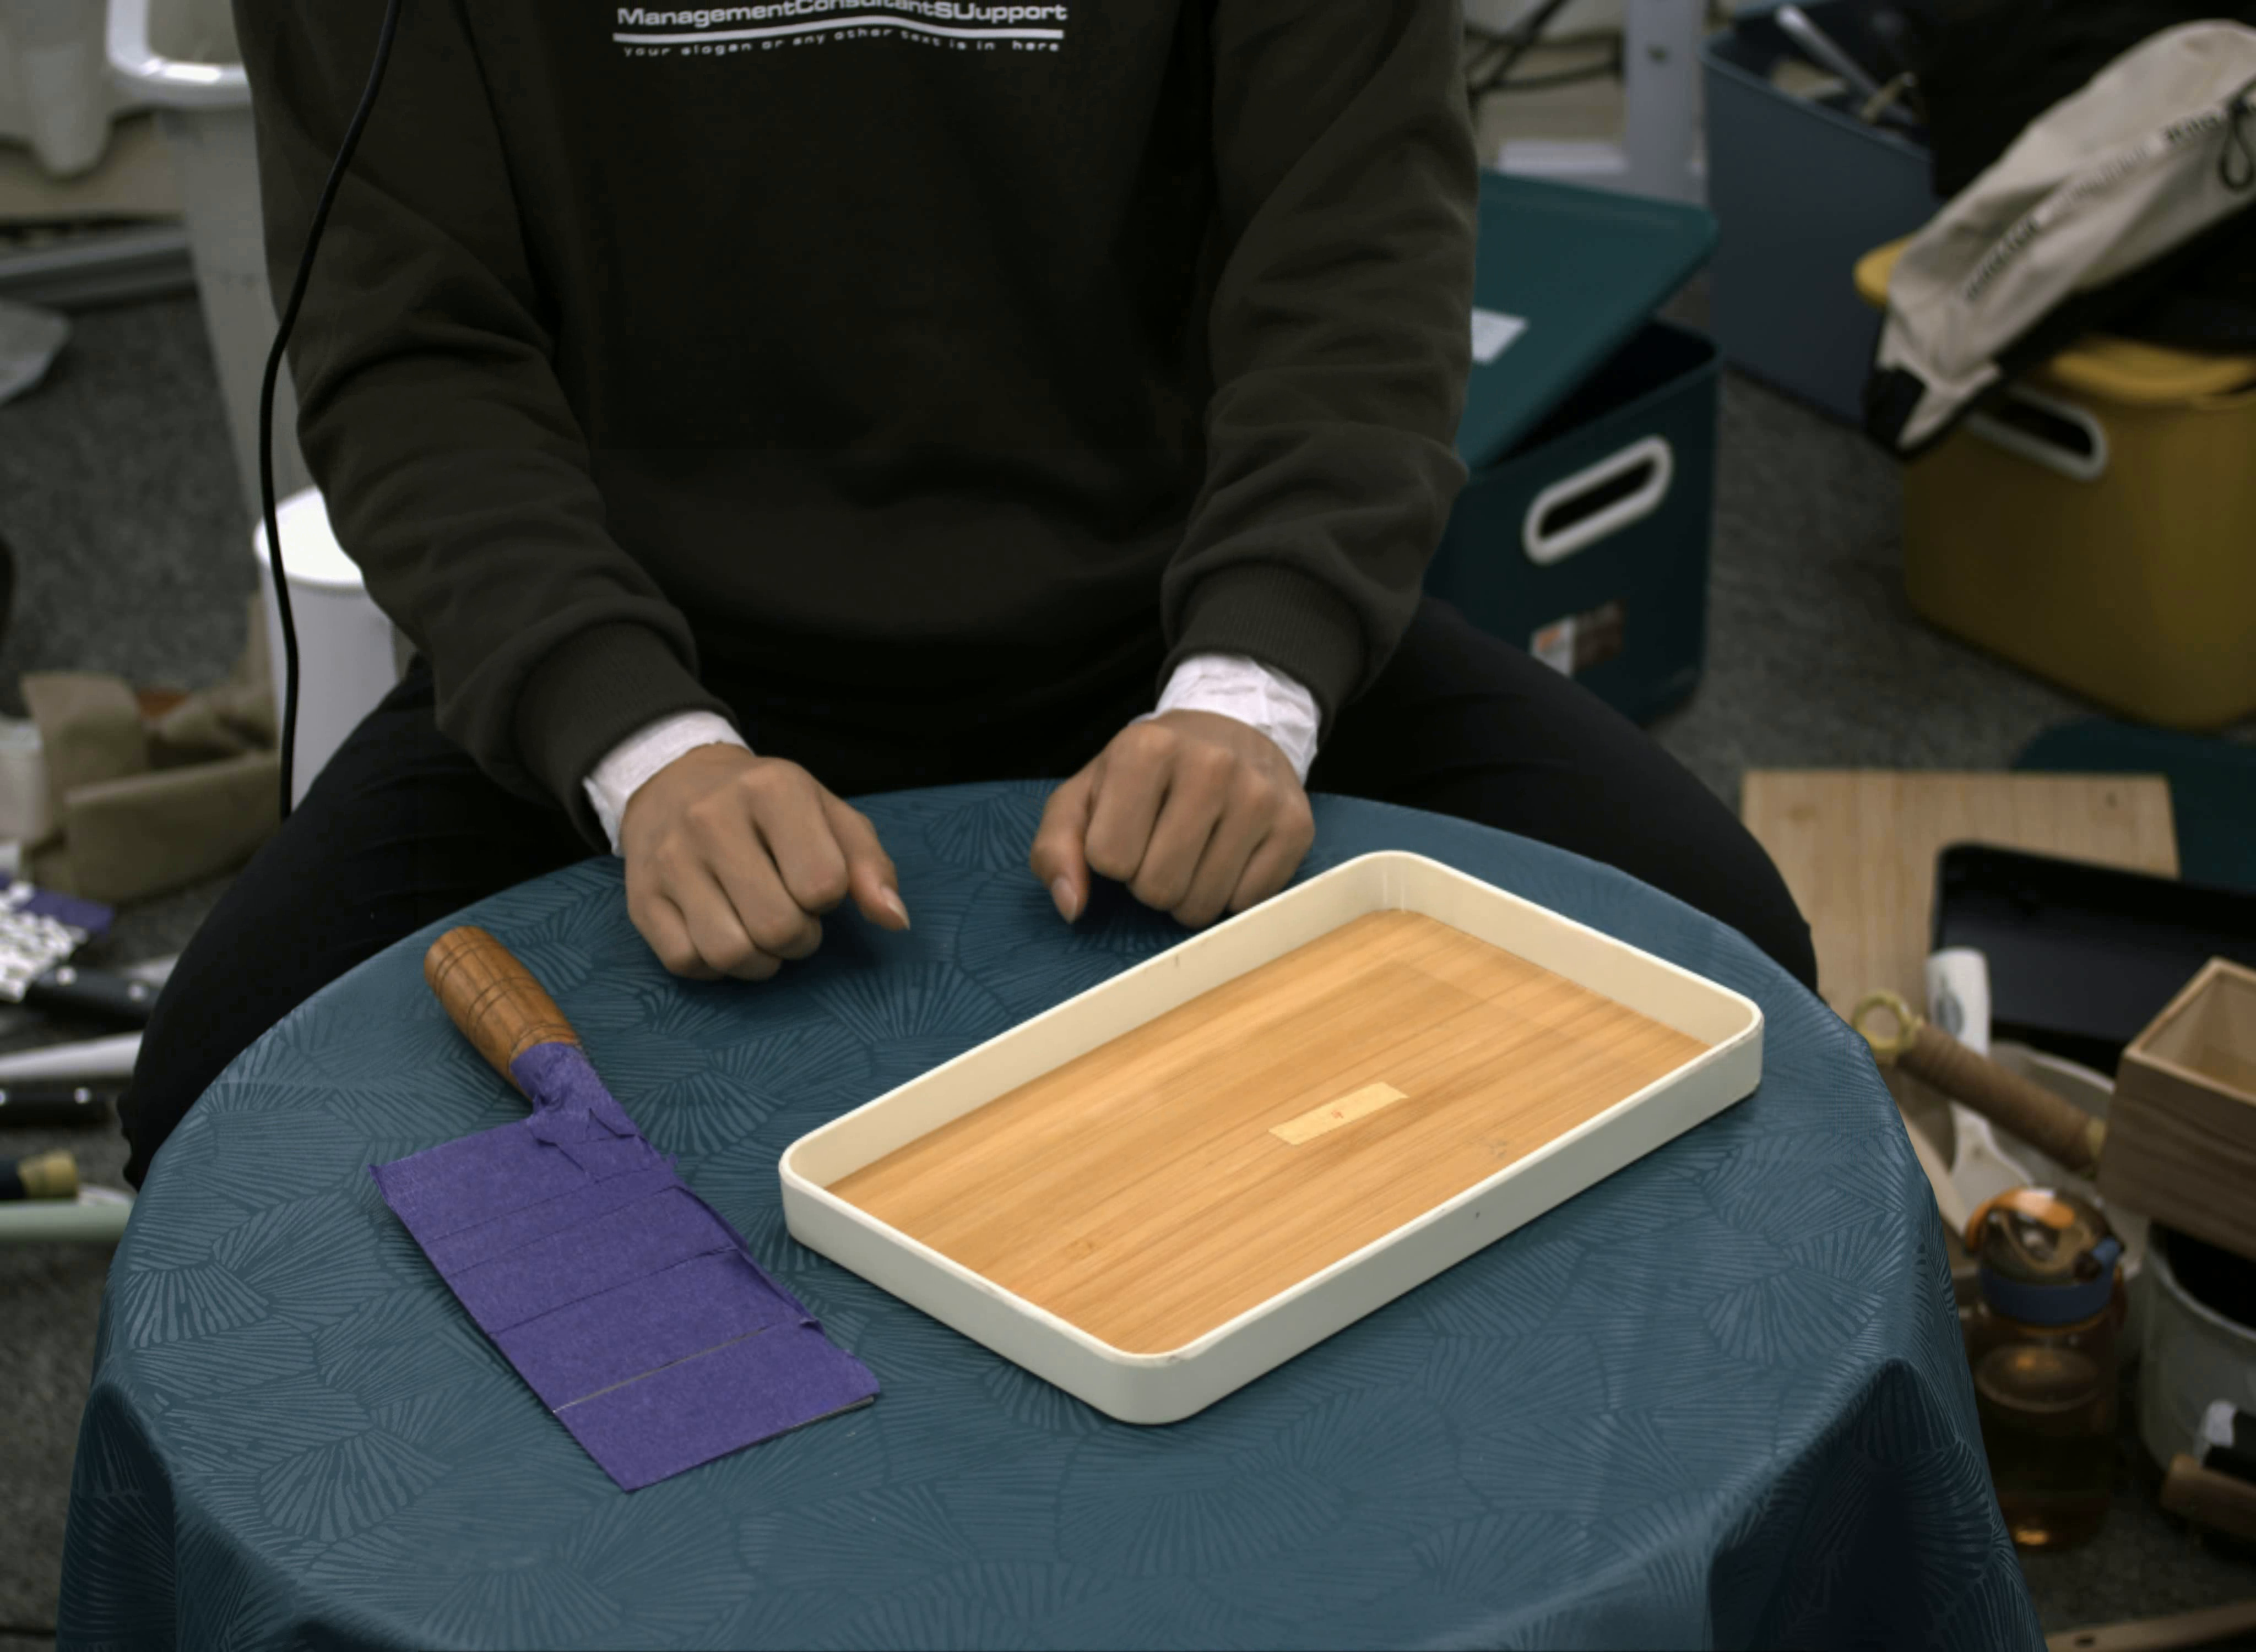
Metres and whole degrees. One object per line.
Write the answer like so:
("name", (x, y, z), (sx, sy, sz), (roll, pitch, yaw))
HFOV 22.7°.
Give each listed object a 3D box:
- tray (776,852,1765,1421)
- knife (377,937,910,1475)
("tray", (0.050, 0.097, 1.874), (0.304, 0.027, 0.191), (-25, 34, -37))
("knife", (-0.189, 0.121, 1.850), (0.104, 0.032, 0.316), (-16, 31, -26))
